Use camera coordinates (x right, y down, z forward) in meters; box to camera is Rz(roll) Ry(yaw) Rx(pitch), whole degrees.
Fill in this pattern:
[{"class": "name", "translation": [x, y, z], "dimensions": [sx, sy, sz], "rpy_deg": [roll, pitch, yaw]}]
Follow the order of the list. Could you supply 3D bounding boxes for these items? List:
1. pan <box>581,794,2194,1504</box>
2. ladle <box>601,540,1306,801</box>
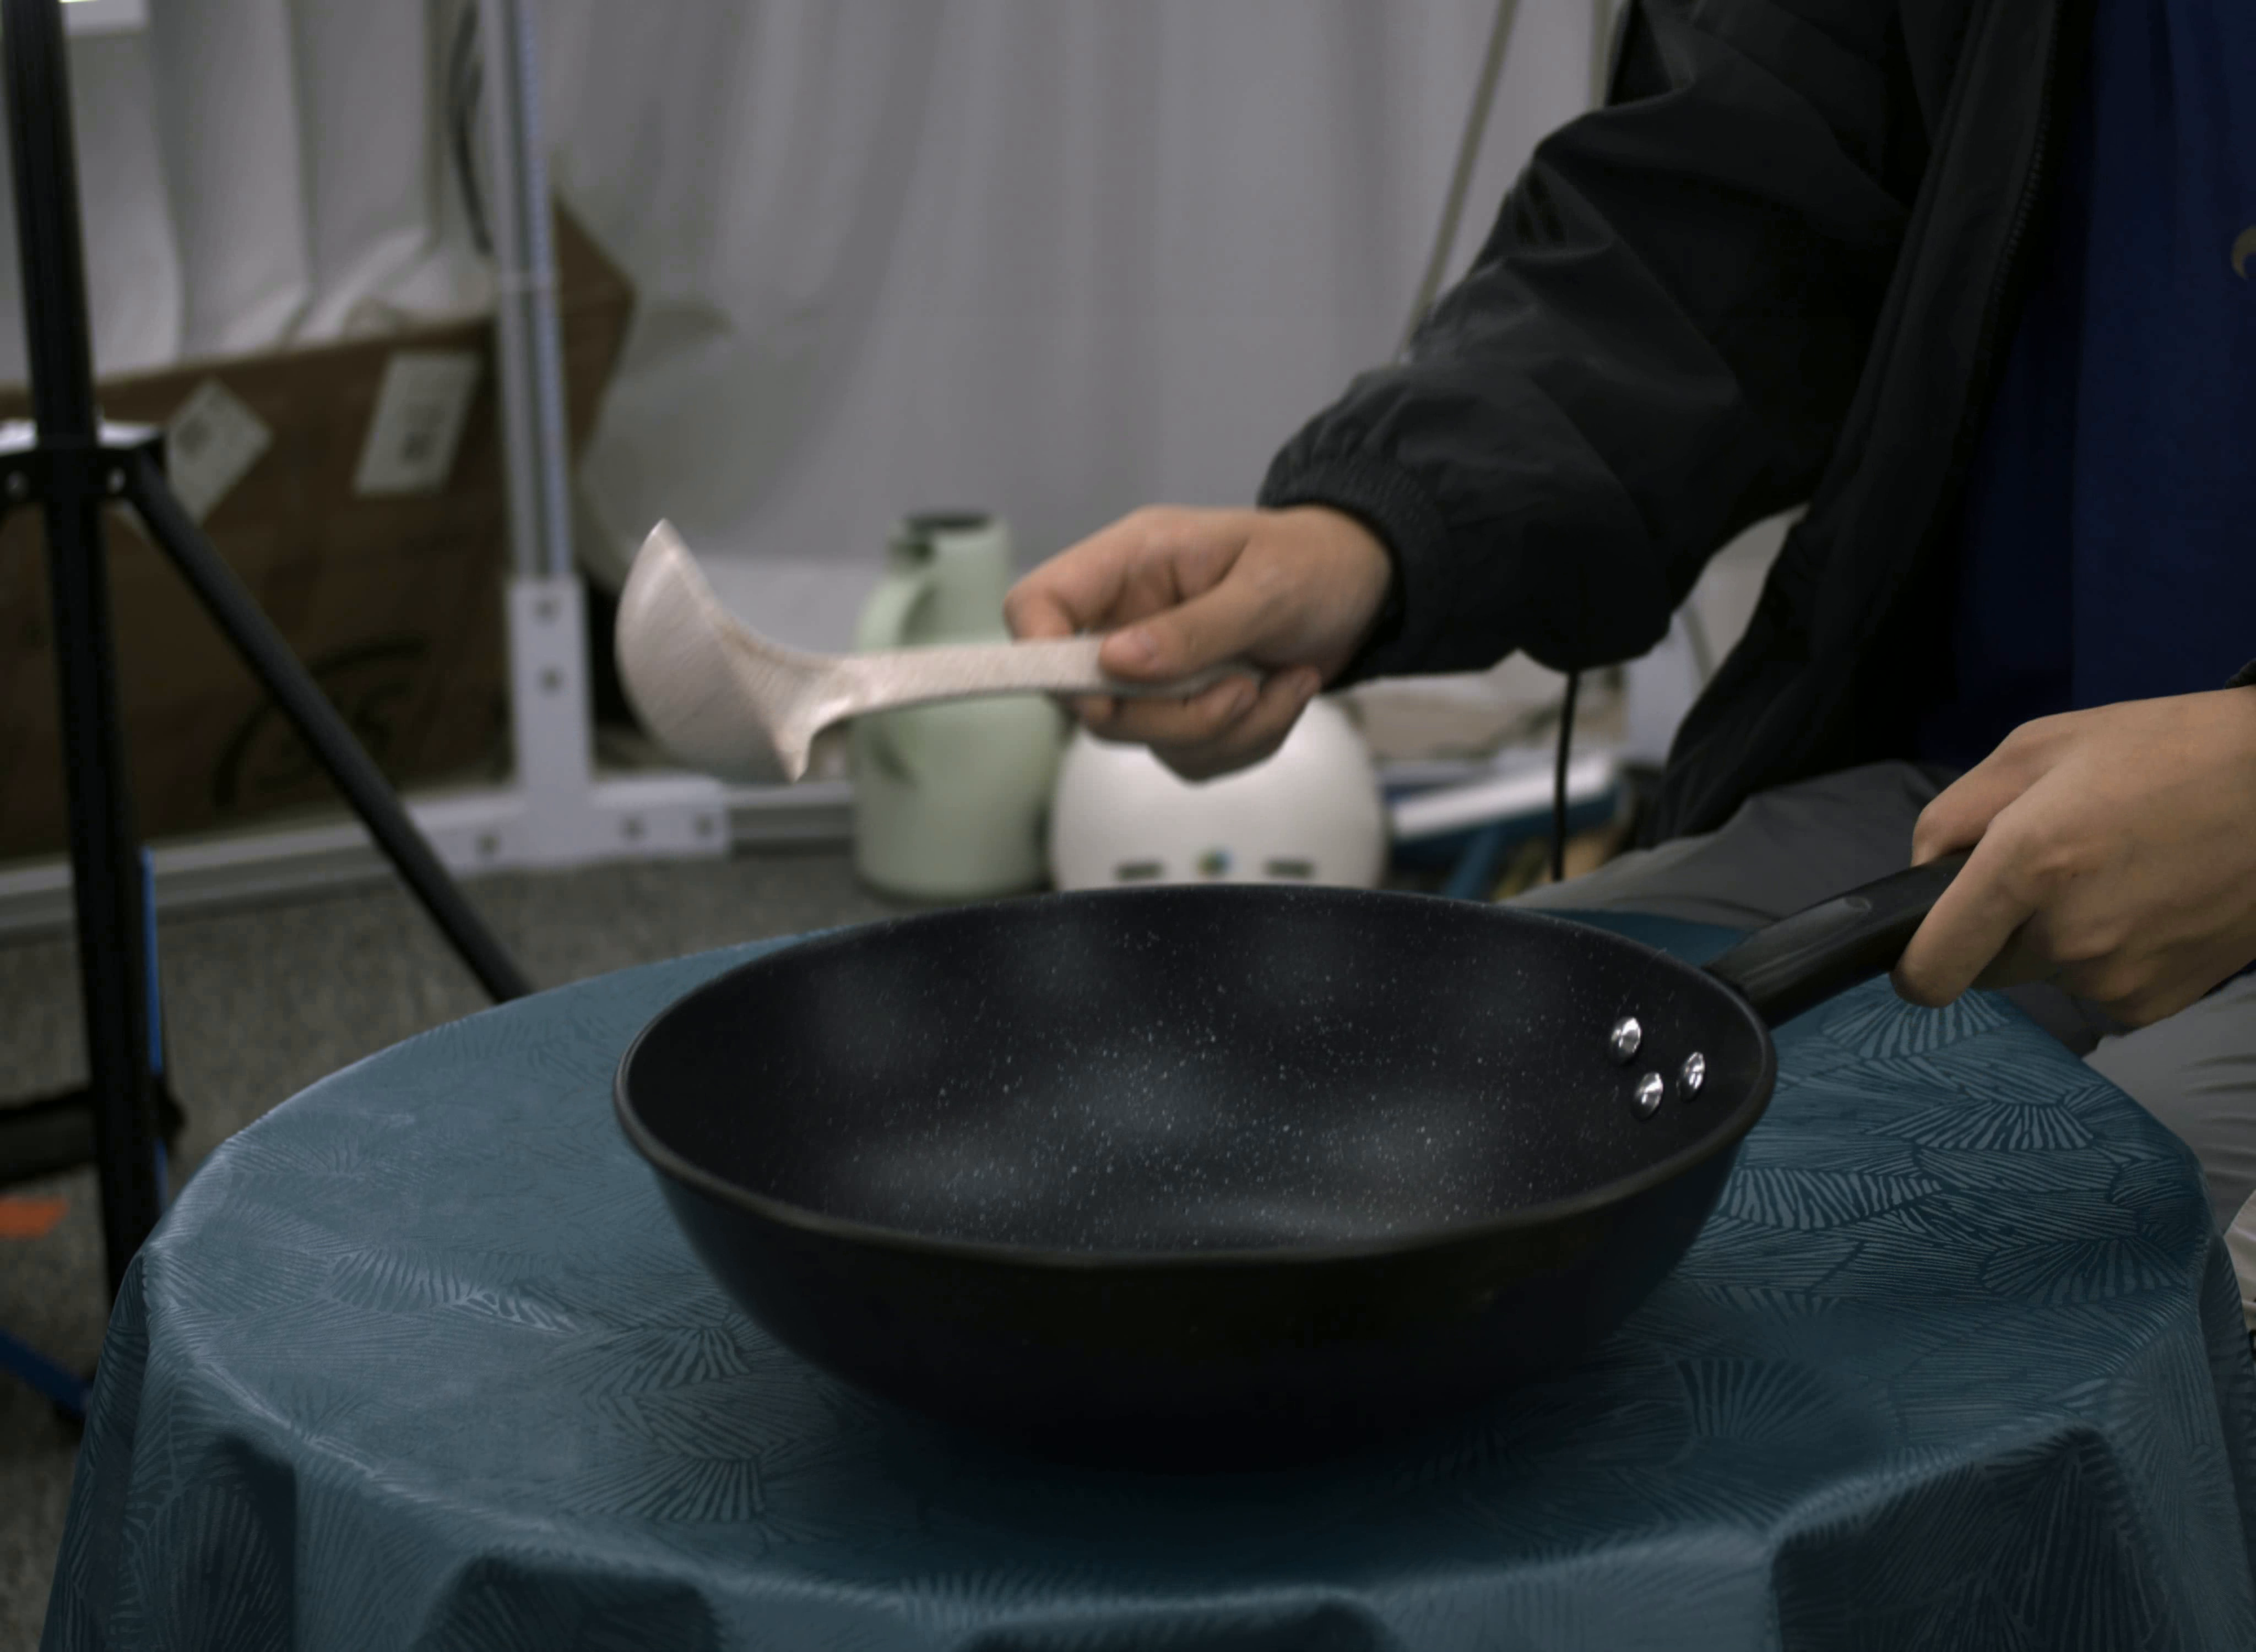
[{"class": "pan", "translation": [0.087, 0.082, 1.434], "dimensions": [0.468, 0.111, 0.316], "rpy_deg": [-10, 19, -21]}, {"class": "ladle", "translation": [-0.040, -0.053, 1.636], "dimensions": [0.268, 0.070, 0.091], "rpy_deg": [-5, 46, -36]}]
